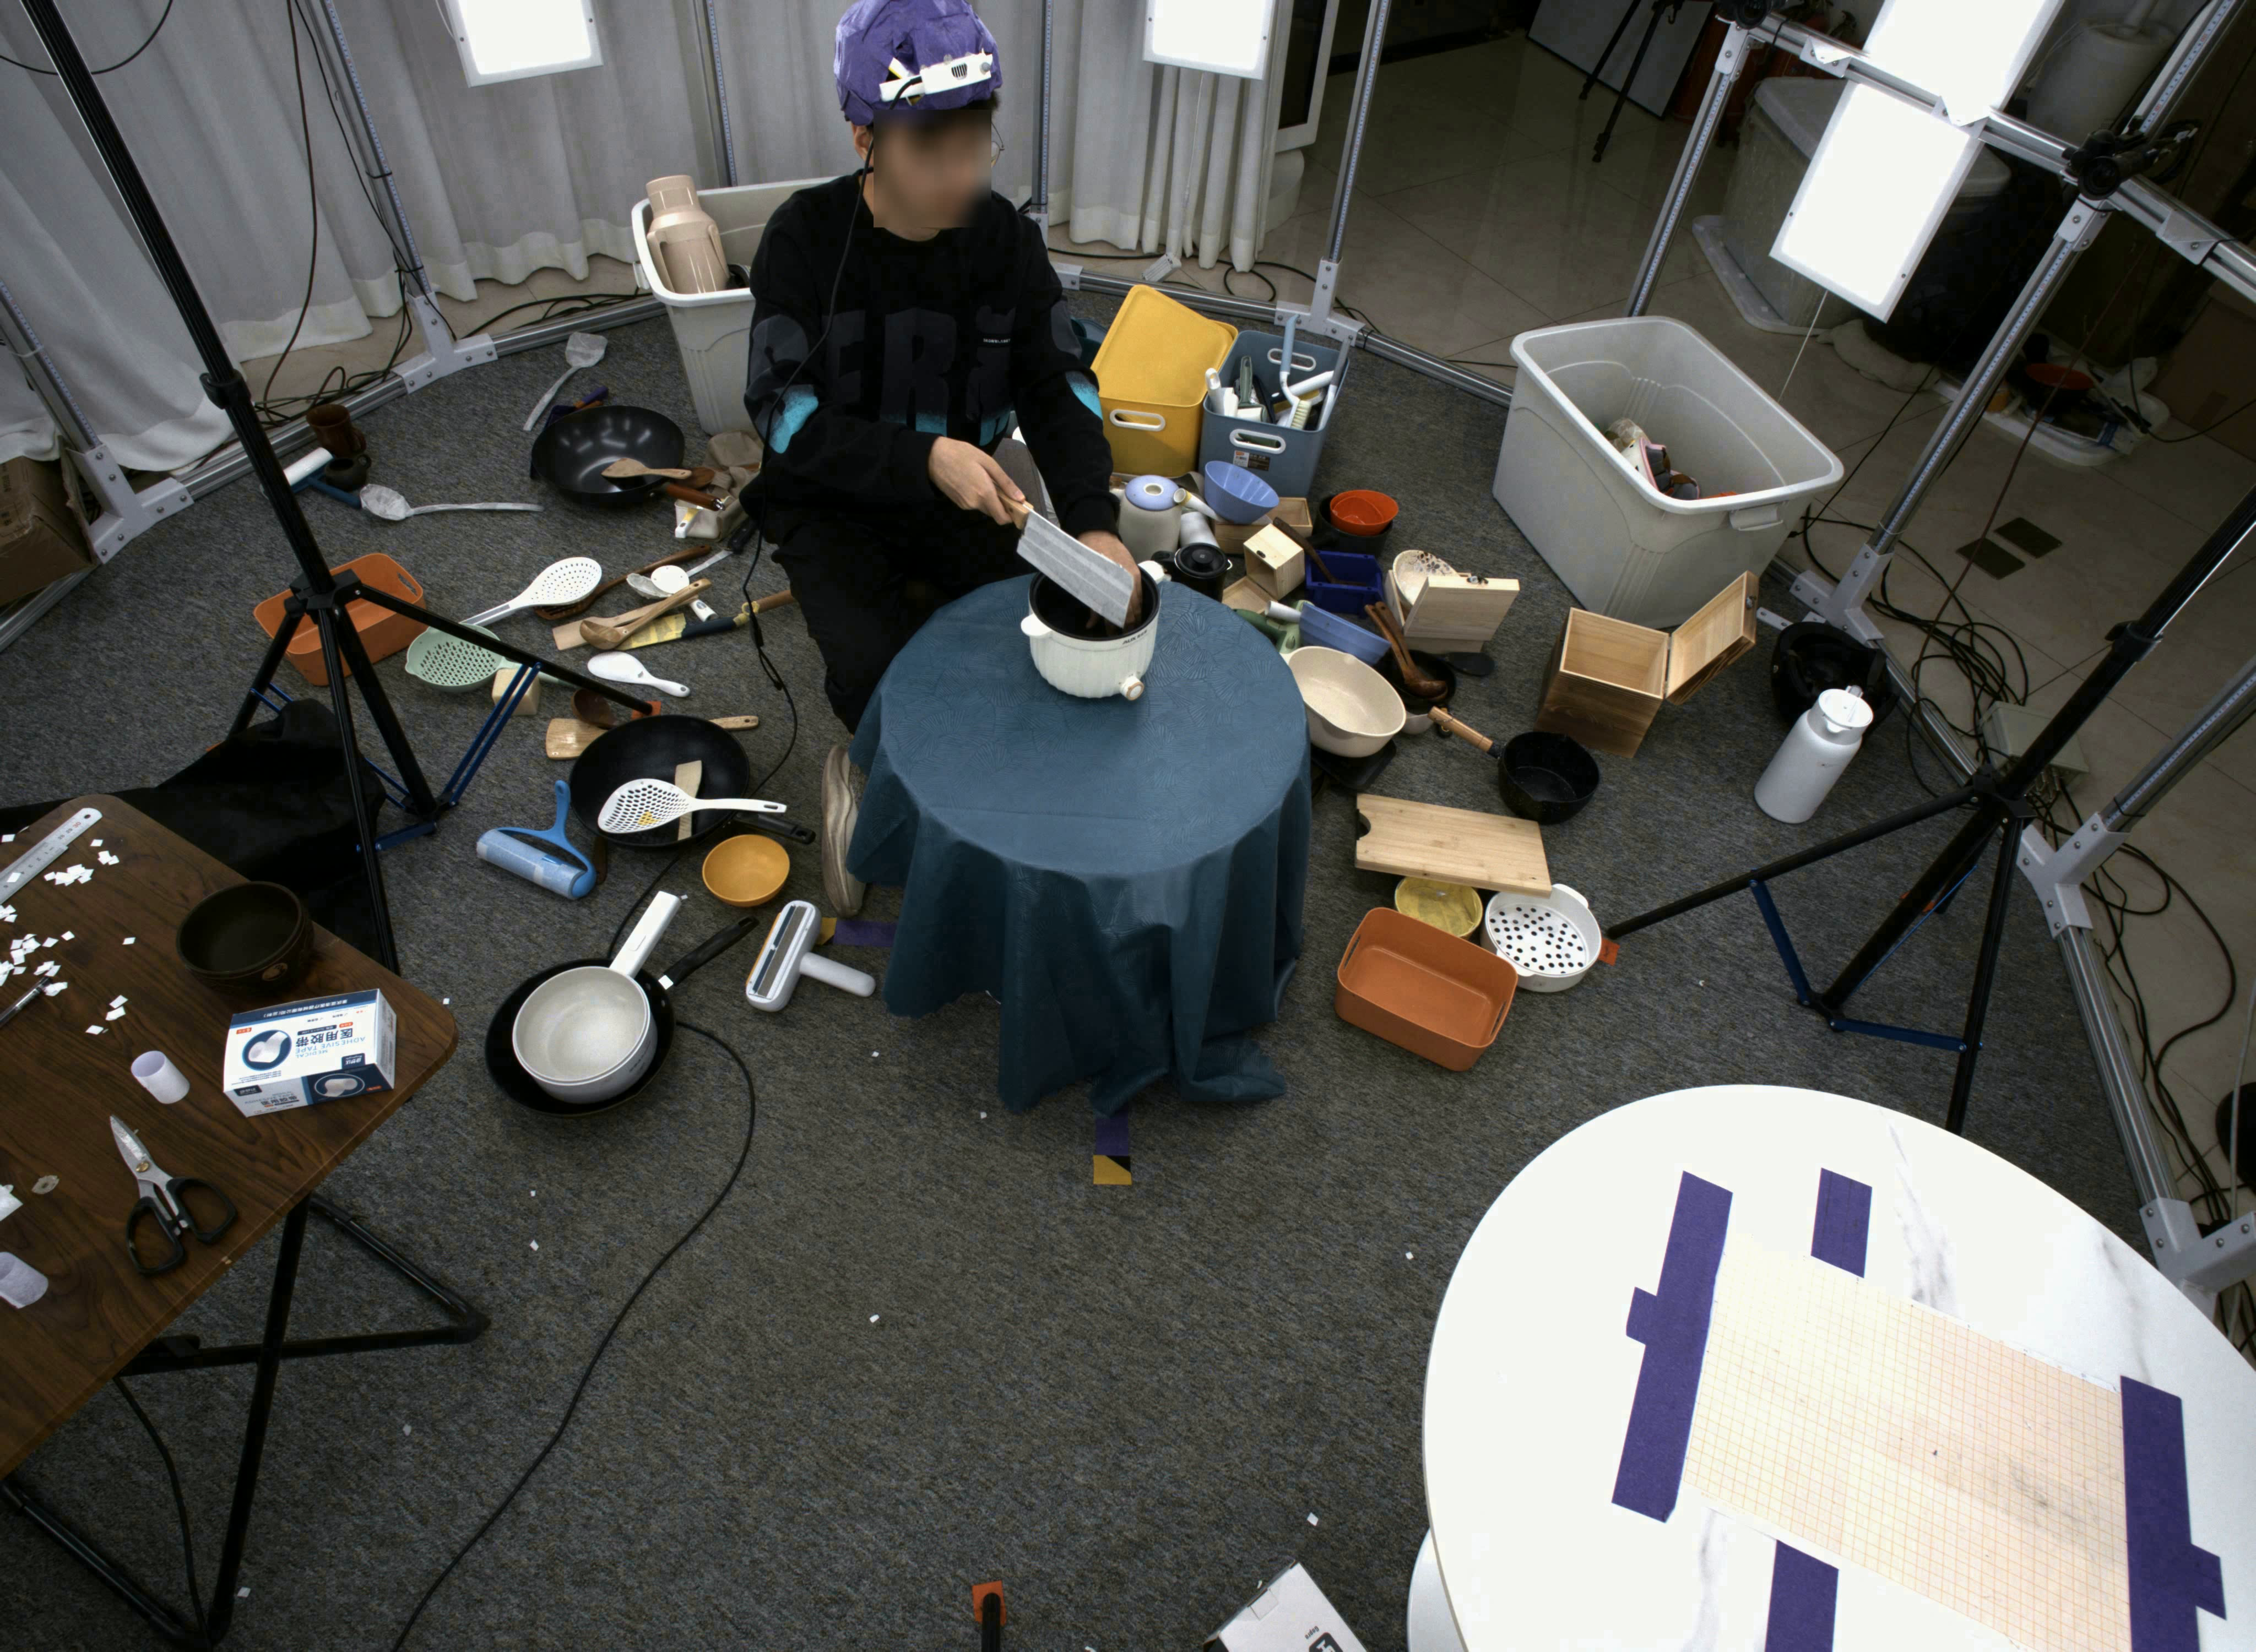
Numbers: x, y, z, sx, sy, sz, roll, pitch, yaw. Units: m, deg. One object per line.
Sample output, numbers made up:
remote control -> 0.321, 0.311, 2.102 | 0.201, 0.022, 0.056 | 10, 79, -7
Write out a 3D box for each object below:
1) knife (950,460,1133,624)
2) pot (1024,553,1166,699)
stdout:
knife -> -0.115, -0.388, 1.726 | 0.317, 0.112, 0.022 | 39, 54, 10
pot -> -0.041, -0.274, 1.814 | 0.242, 0.139, 0.194 | -31, 54, -25
